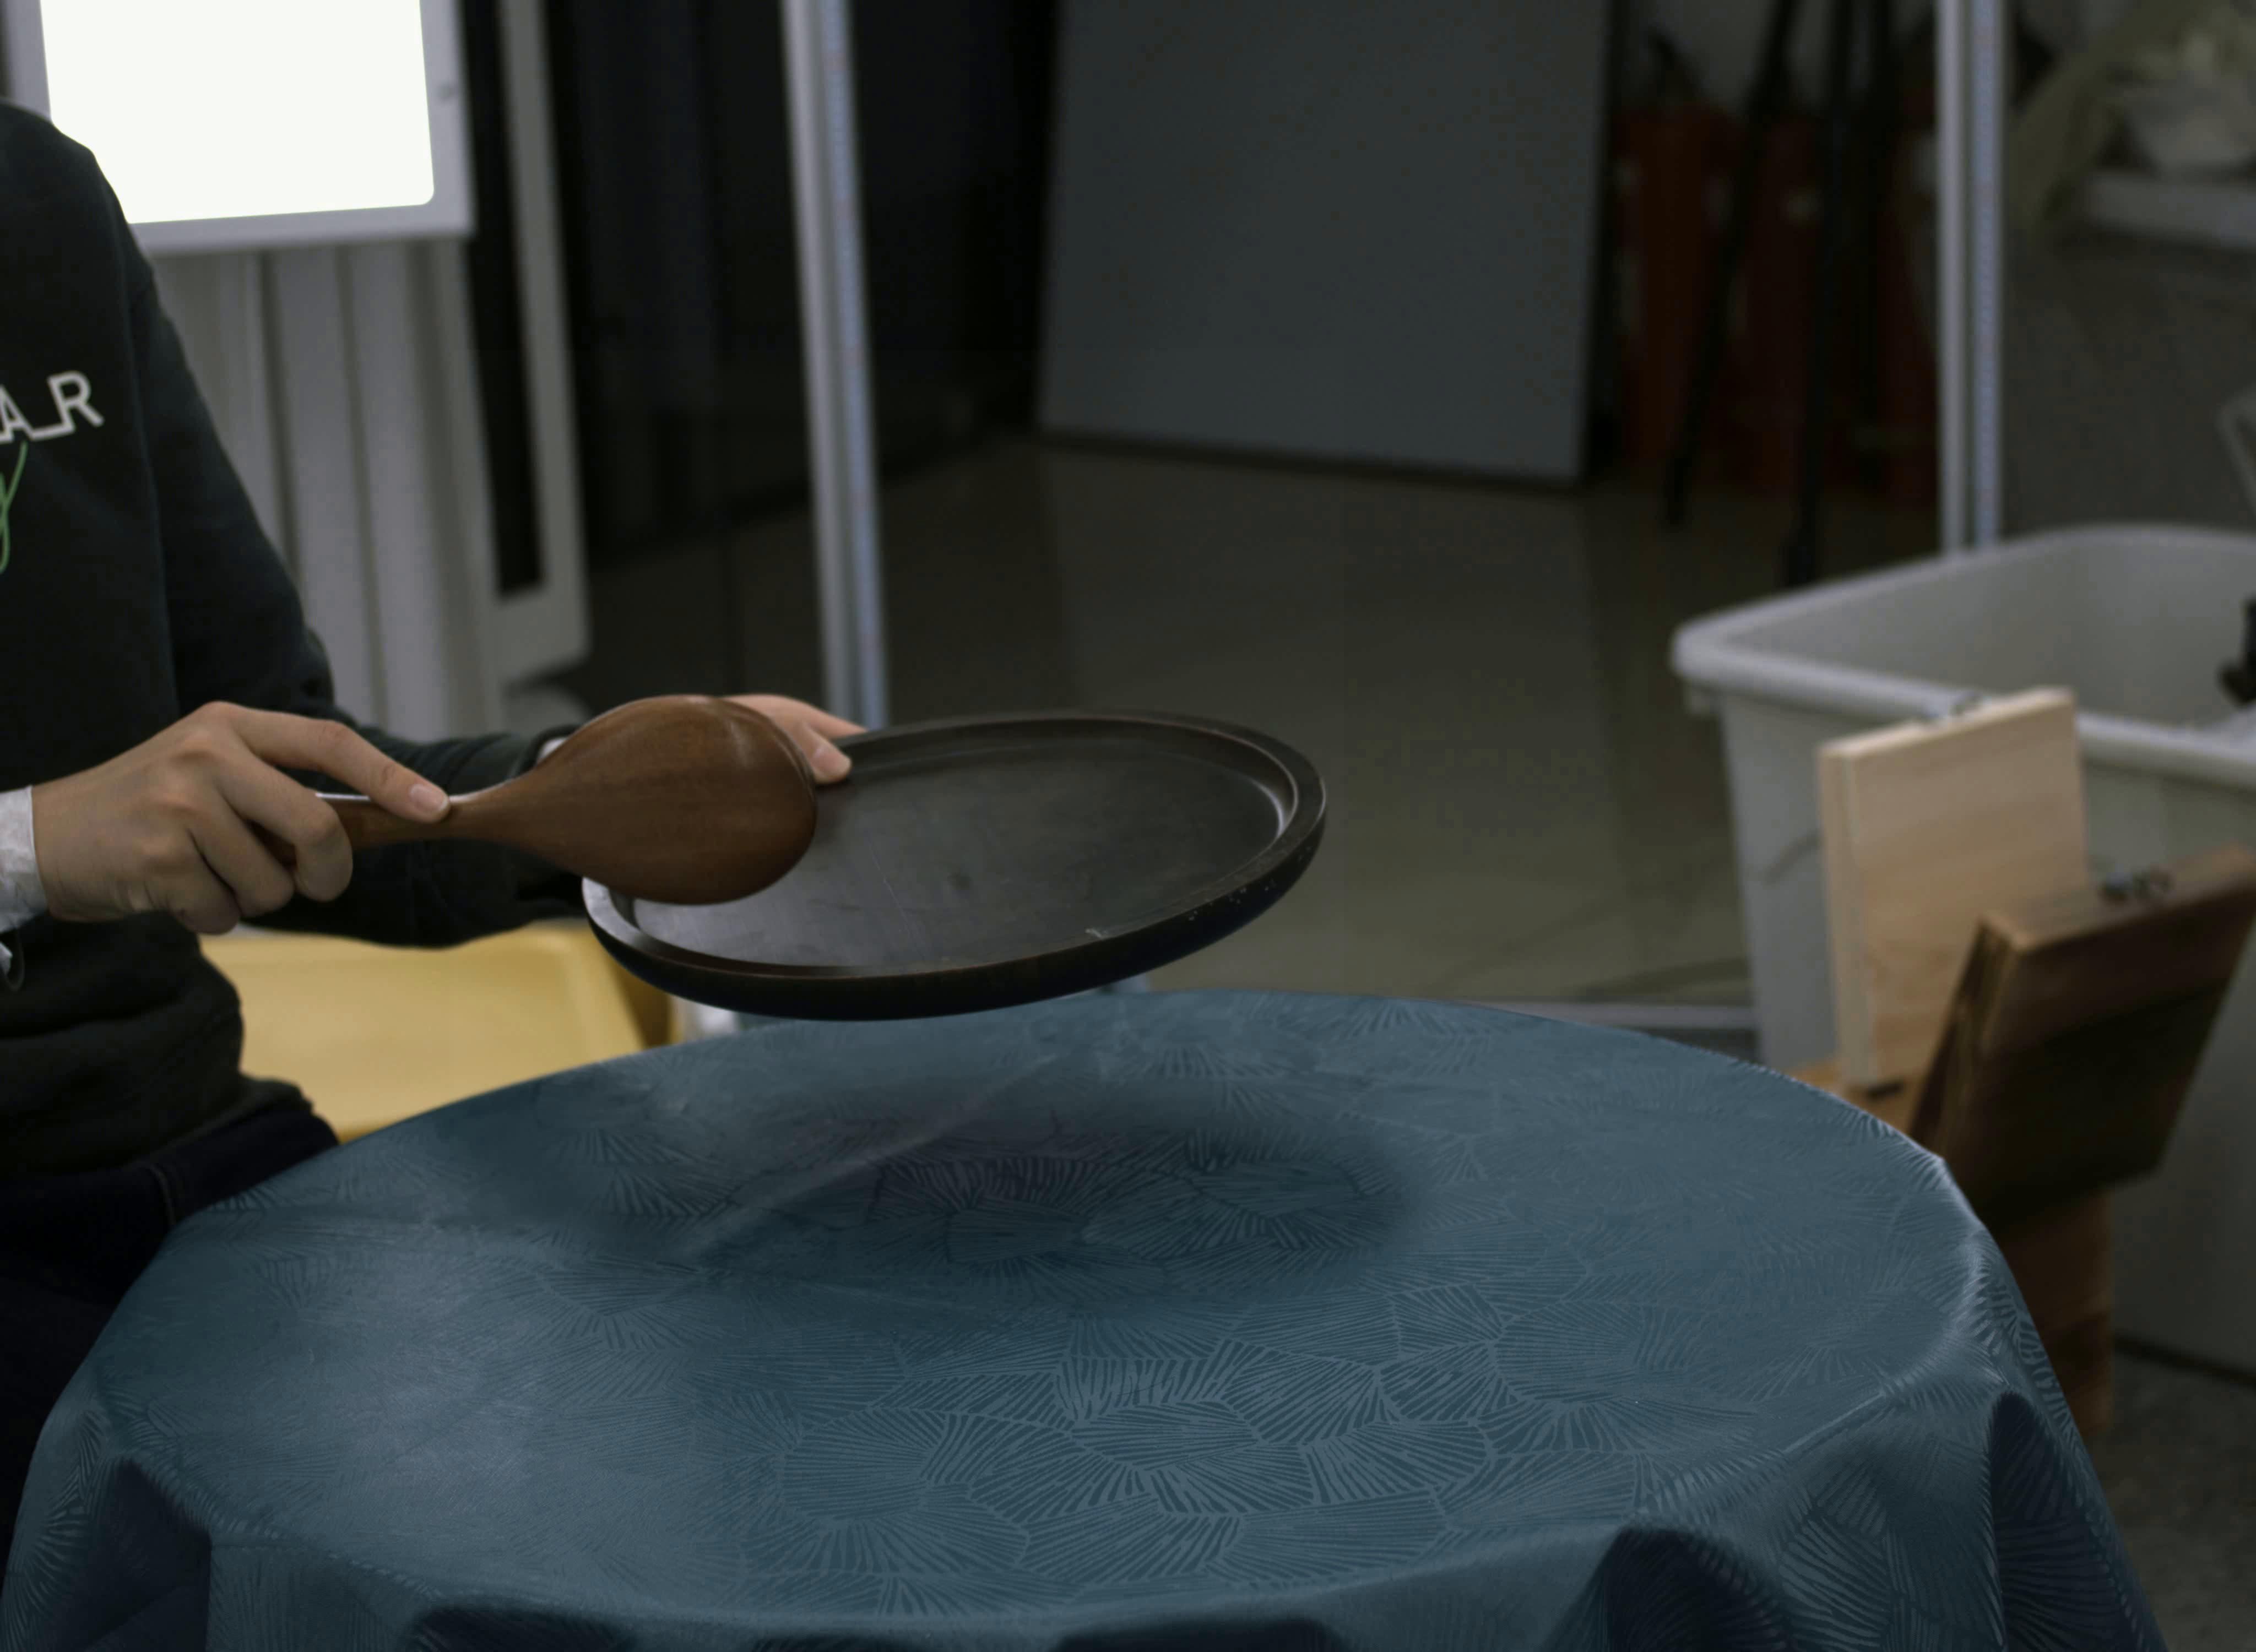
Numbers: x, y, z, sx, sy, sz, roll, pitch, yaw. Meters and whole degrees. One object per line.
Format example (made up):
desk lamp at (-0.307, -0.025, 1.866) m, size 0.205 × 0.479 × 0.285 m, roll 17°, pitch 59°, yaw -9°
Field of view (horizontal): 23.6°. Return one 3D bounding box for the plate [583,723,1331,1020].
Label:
plate at (-0.056, 0.012, 1.799) m, size 0.252 × 0.029 × 0.255 m, roll -6°, pitch 19°, yaw 1°

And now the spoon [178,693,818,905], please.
spoon at (-0.205, -0.003, 1.755) m, size 0.214 × 0.076 × 0.017 m, roll -3°, pitch 24°, yaw 12°
